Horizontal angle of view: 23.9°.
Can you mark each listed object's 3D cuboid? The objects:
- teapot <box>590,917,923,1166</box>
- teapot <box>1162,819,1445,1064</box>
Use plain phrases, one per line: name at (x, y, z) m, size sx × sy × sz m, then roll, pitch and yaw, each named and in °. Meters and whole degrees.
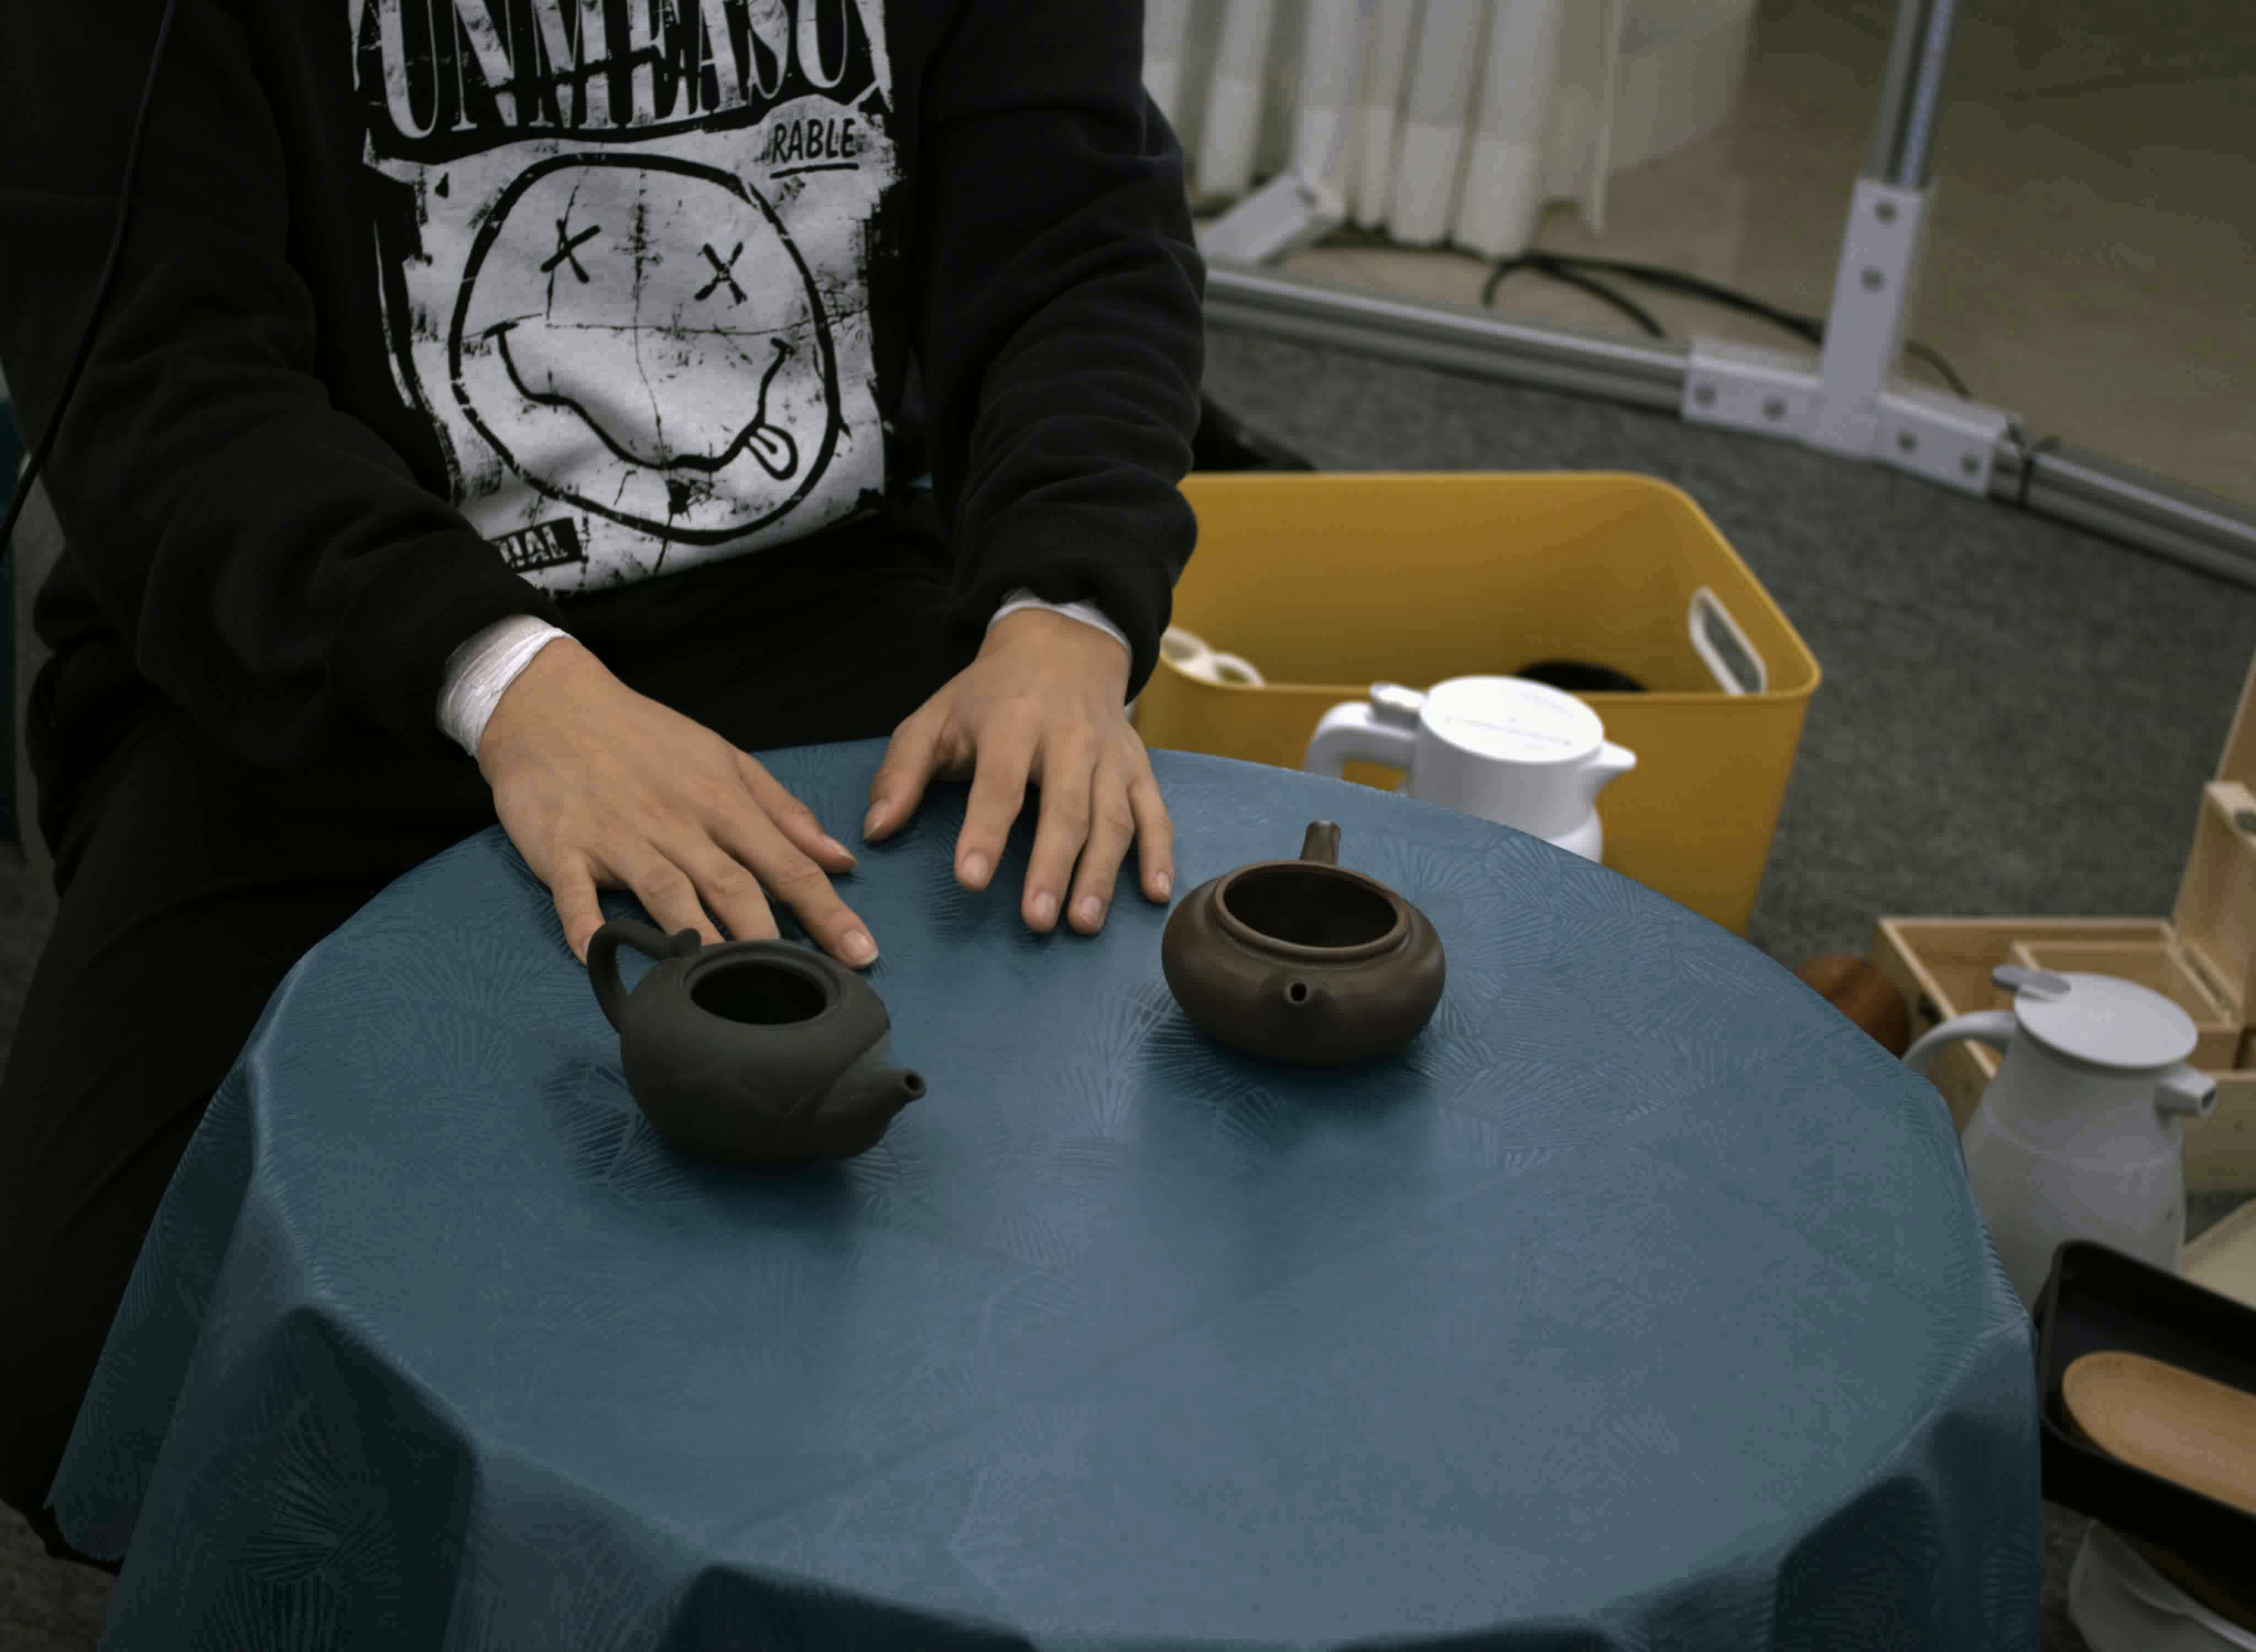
teapot at (-0.129, 0.075, 1.802) m, size 0.155 × 0.064 × 0.092 m, roll 27°, pitch 31°, yaw 34°
teapot at (0.063, 0.045, 1.914) m, size 0.102 × 0.053 × 0.154 m, roll 7°, pitch 27°, yaw -3°
